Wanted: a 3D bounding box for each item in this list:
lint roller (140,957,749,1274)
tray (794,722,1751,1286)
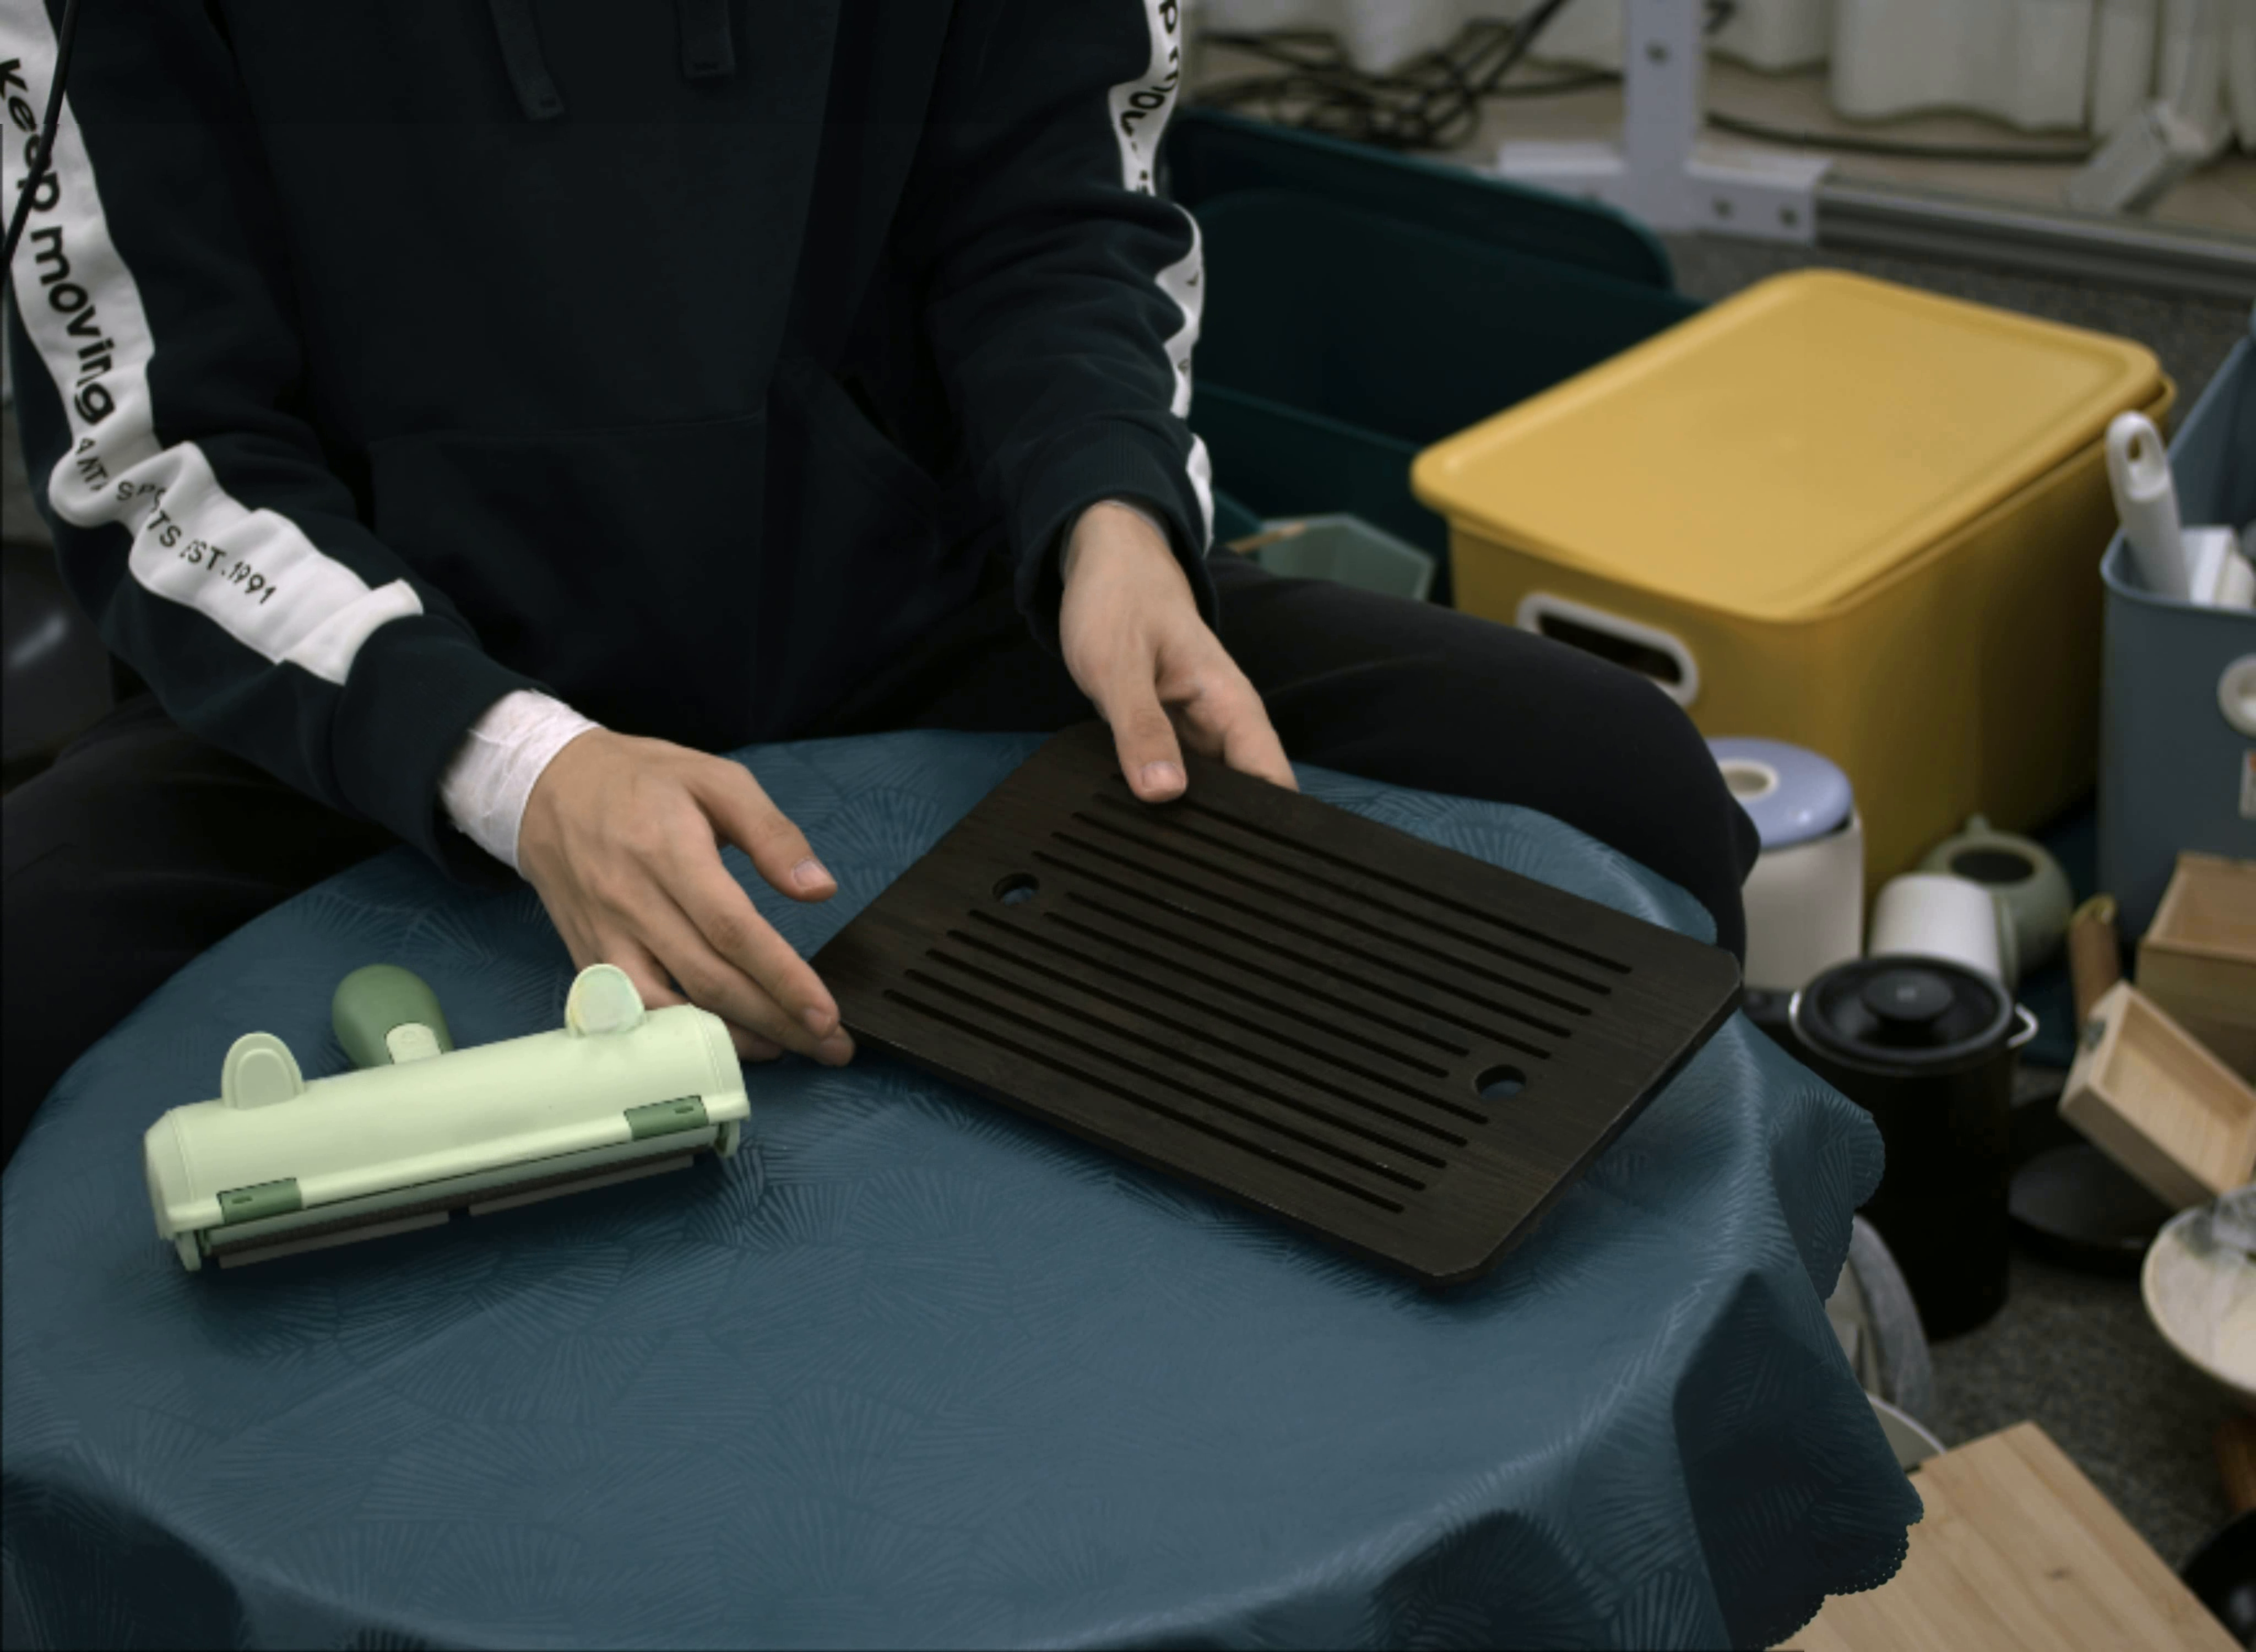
[{"bbox_3d":[-0.243,0.071,1.896,0.199,0.081,0.185,-11,32,-15],"label":"lint roller"},{"bbox_3d":[0.046,0.057,1.916,0.305,0.018,0.173,20,49,36],"label":"tray"}]
